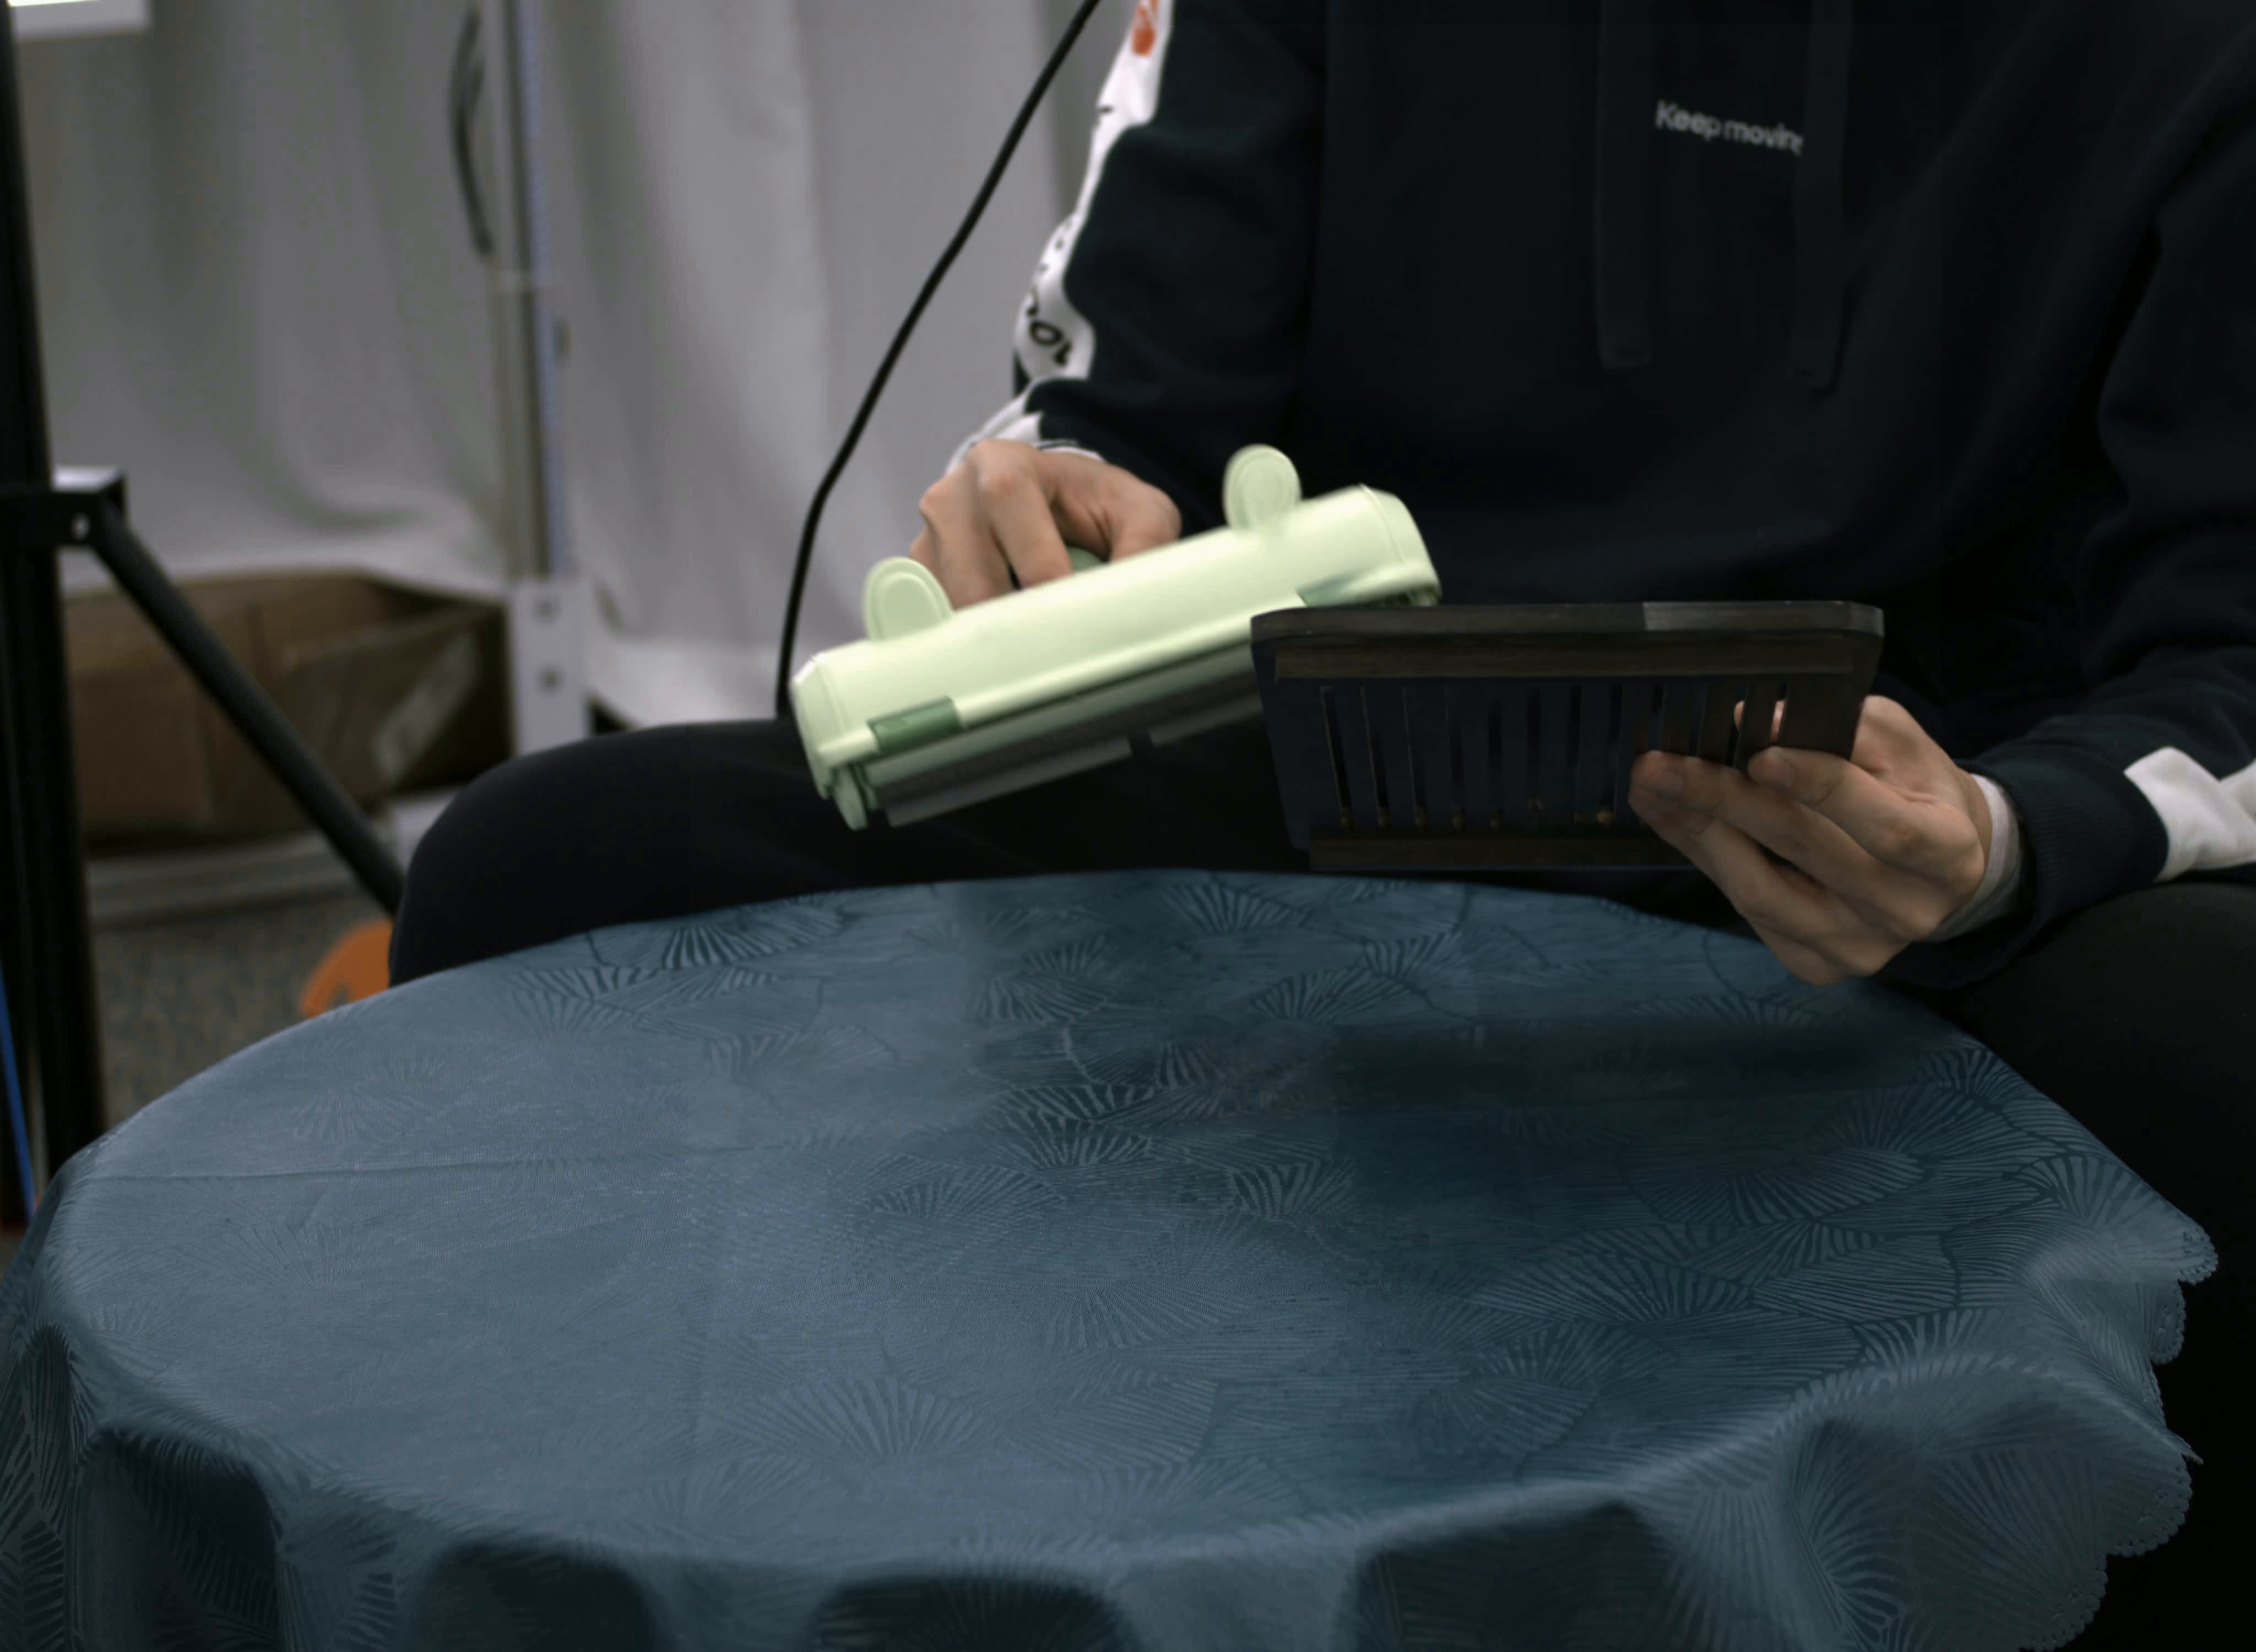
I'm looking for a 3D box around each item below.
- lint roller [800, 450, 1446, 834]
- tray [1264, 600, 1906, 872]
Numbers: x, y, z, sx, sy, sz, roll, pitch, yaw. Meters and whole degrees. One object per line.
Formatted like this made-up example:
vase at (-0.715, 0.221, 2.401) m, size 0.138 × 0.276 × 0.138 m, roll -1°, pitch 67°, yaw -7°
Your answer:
lint roller at (-0.016, -0.076, 1.667) m, size 0.197 × 0.081 × 0.186 m, roll -18°, pitch 25°, yaw -6°
tray at (0.129, -0.020, 1.537) m, size 0.170 × 0.019 × 0.303 m, roll 0°, pitch -12°, yaw 4°
